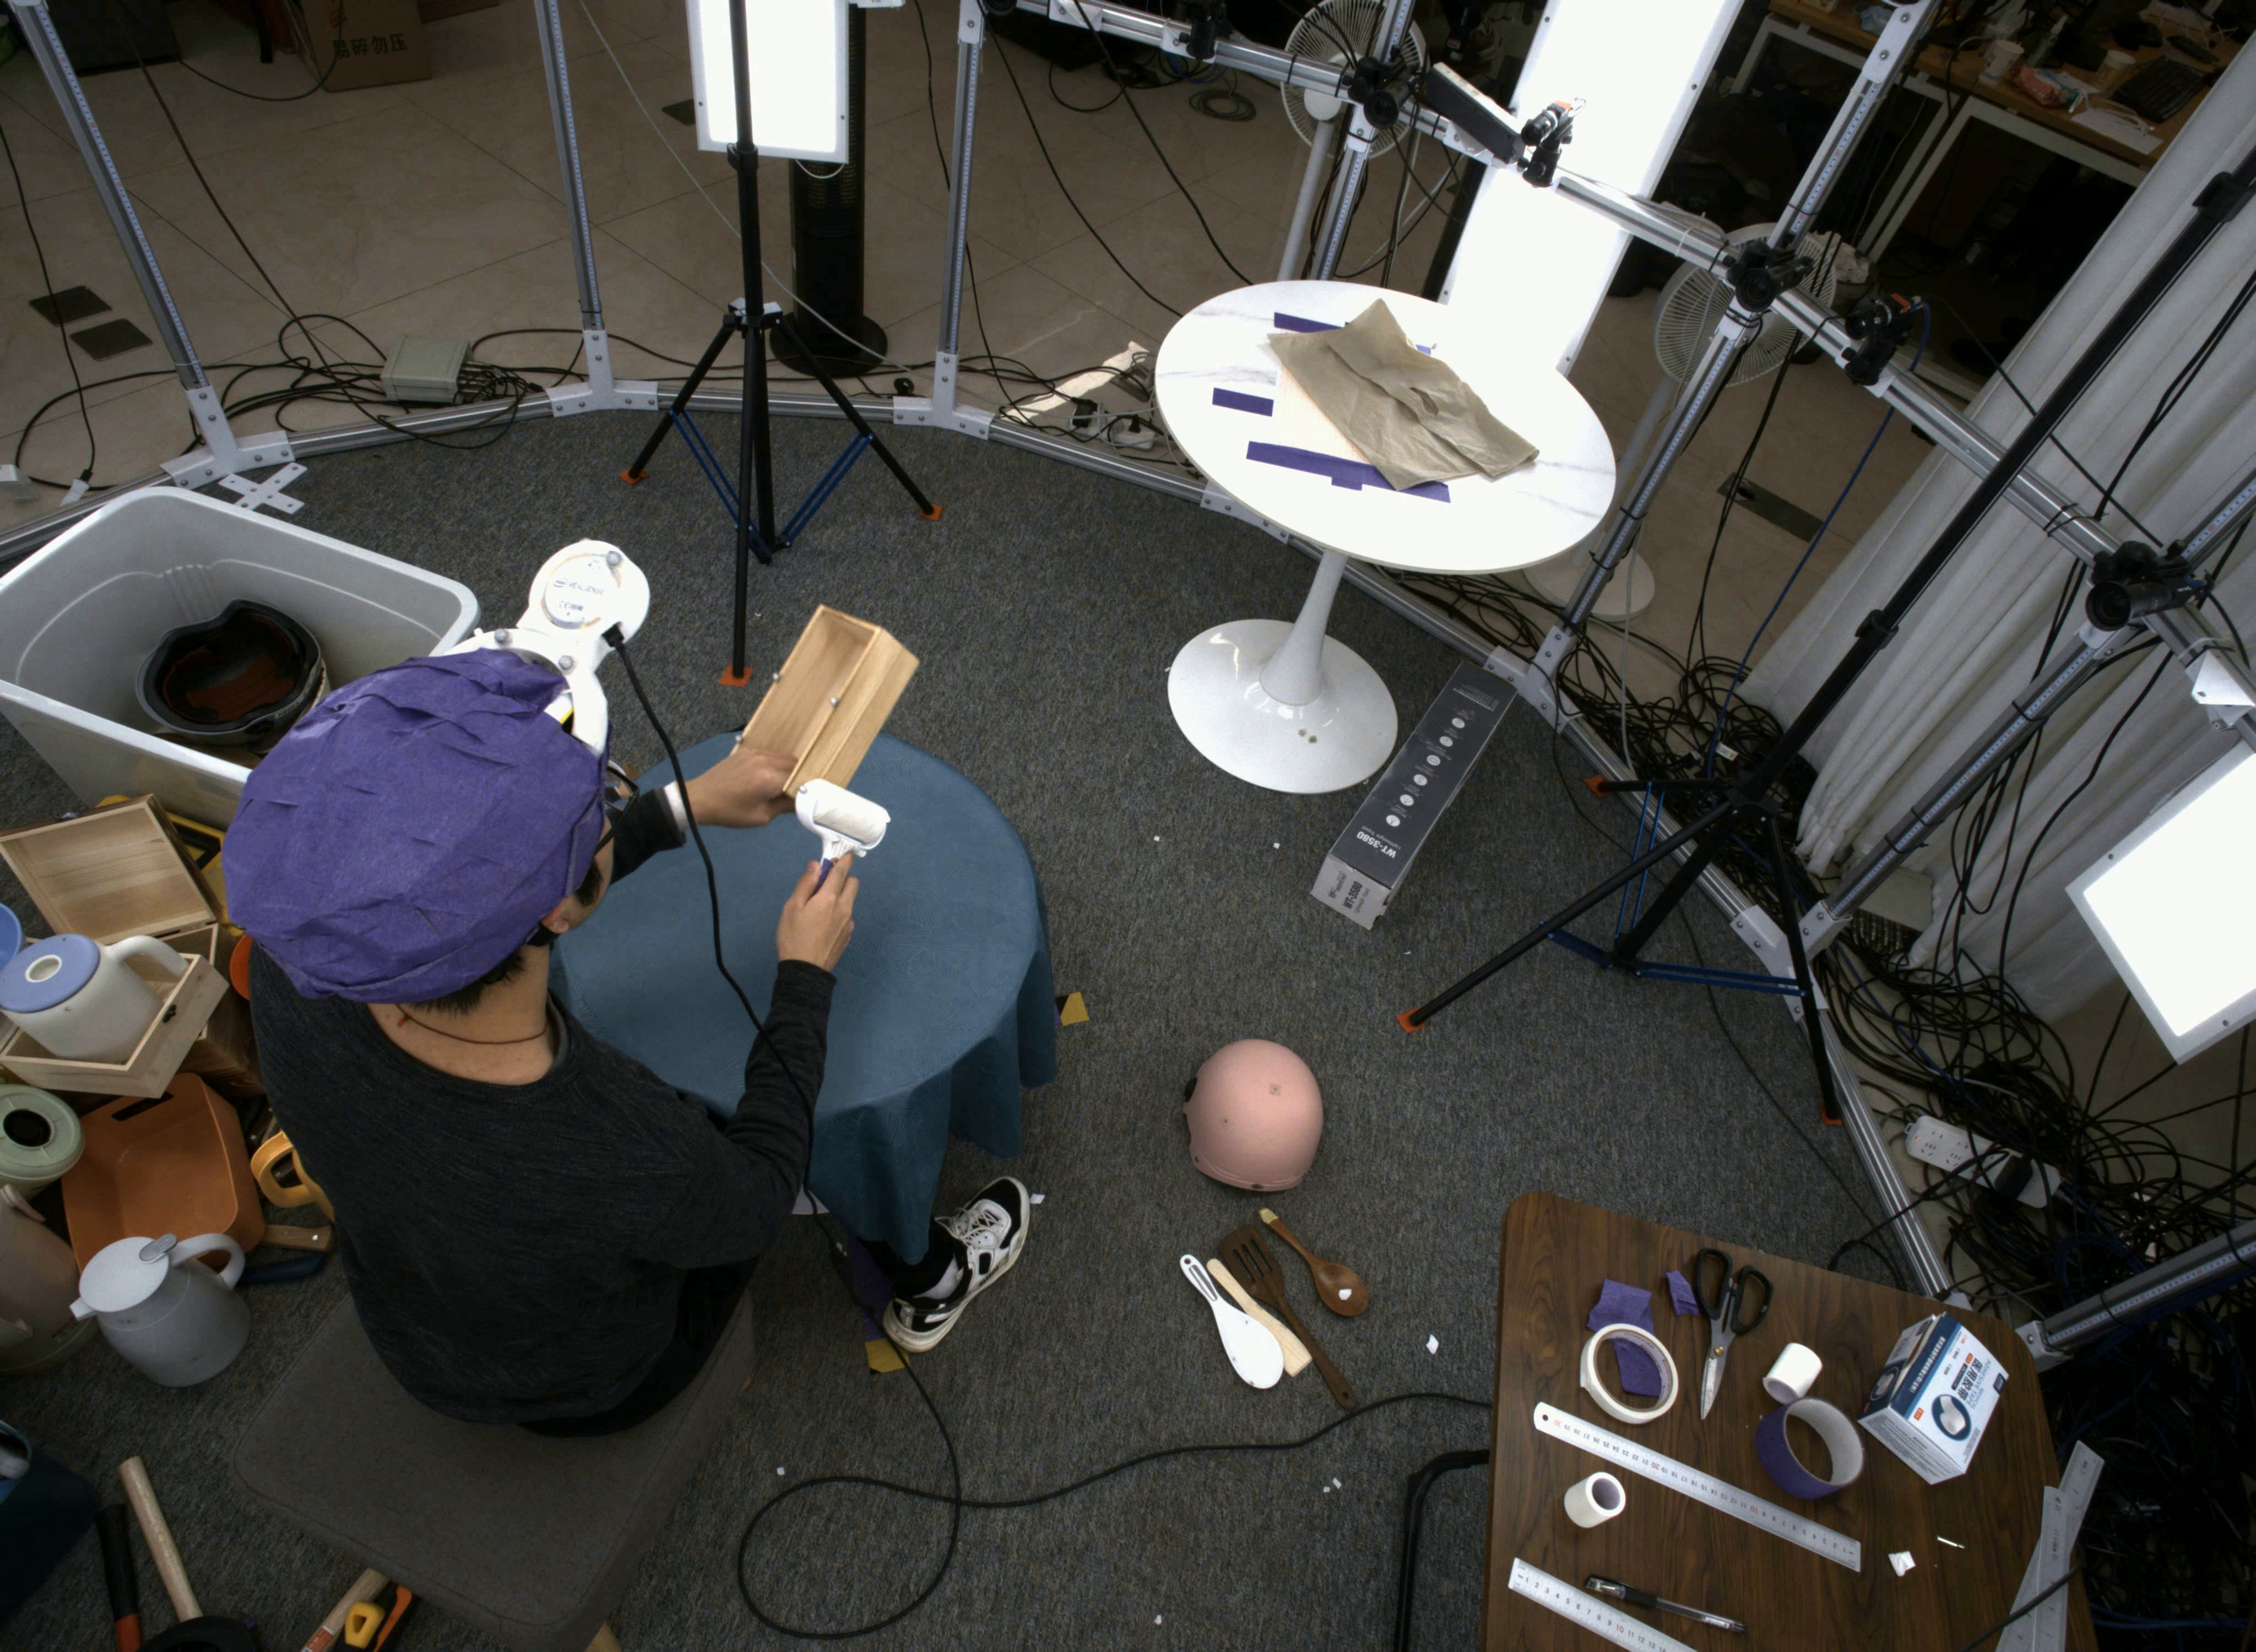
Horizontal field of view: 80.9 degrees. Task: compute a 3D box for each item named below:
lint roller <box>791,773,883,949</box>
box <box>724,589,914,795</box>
[{"bbox_3d":[-0.324,0.041,1.417,0.049,0.137,0.180,-4,73,24],"label":"lint roller"},{"bbox_3d":[-0.346,-0.142,1.456,0.104,0.083,0.212,22,81,29],"label":"box"}]
